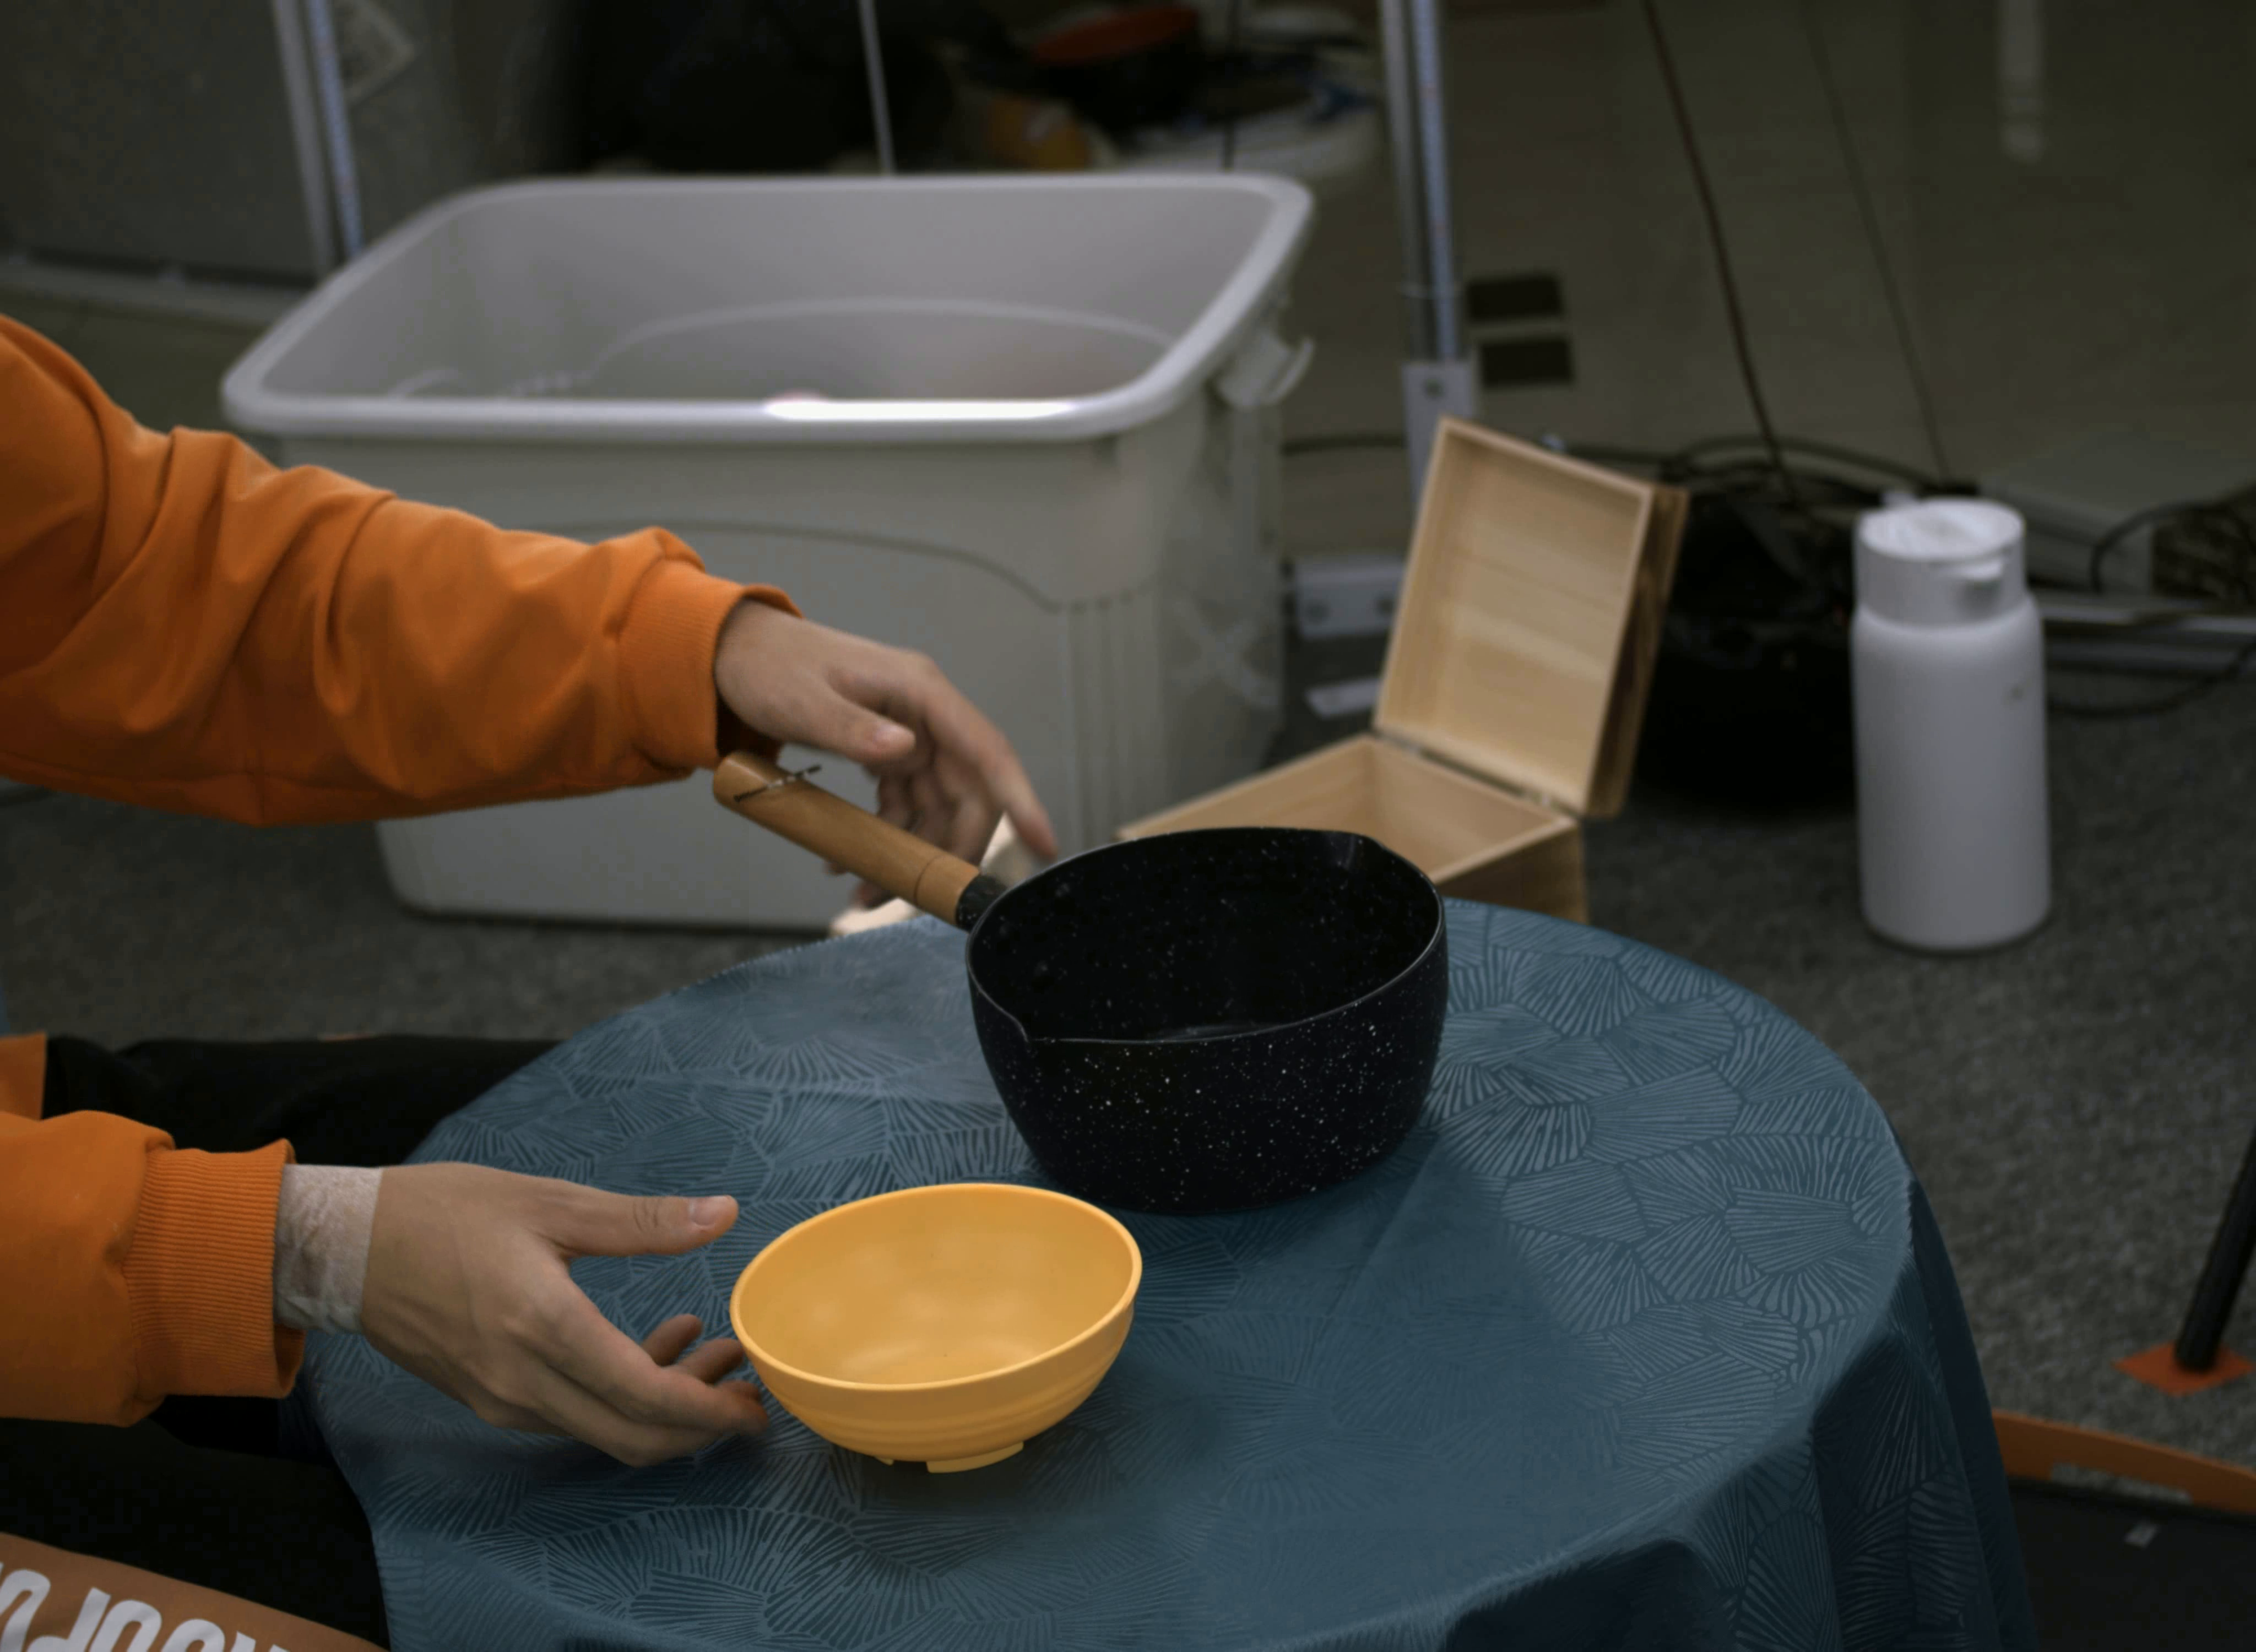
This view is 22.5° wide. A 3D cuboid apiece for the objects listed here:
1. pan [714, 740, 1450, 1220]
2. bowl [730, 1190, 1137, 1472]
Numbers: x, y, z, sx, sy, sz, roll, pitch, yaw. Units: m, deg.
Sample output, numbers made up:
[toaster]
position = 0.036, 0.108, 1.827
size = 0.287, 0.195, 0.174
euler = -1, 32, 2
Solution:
[pan]
position = -0.030, 0.051, 2.212
size = 0.340, 0.110, 0.205
euler = 15, 34, 36
[bowl]
position = -0.066, 0.186, 1.993
size = 0.145, 0.061, 0.143
euler = -5, 24, 2
